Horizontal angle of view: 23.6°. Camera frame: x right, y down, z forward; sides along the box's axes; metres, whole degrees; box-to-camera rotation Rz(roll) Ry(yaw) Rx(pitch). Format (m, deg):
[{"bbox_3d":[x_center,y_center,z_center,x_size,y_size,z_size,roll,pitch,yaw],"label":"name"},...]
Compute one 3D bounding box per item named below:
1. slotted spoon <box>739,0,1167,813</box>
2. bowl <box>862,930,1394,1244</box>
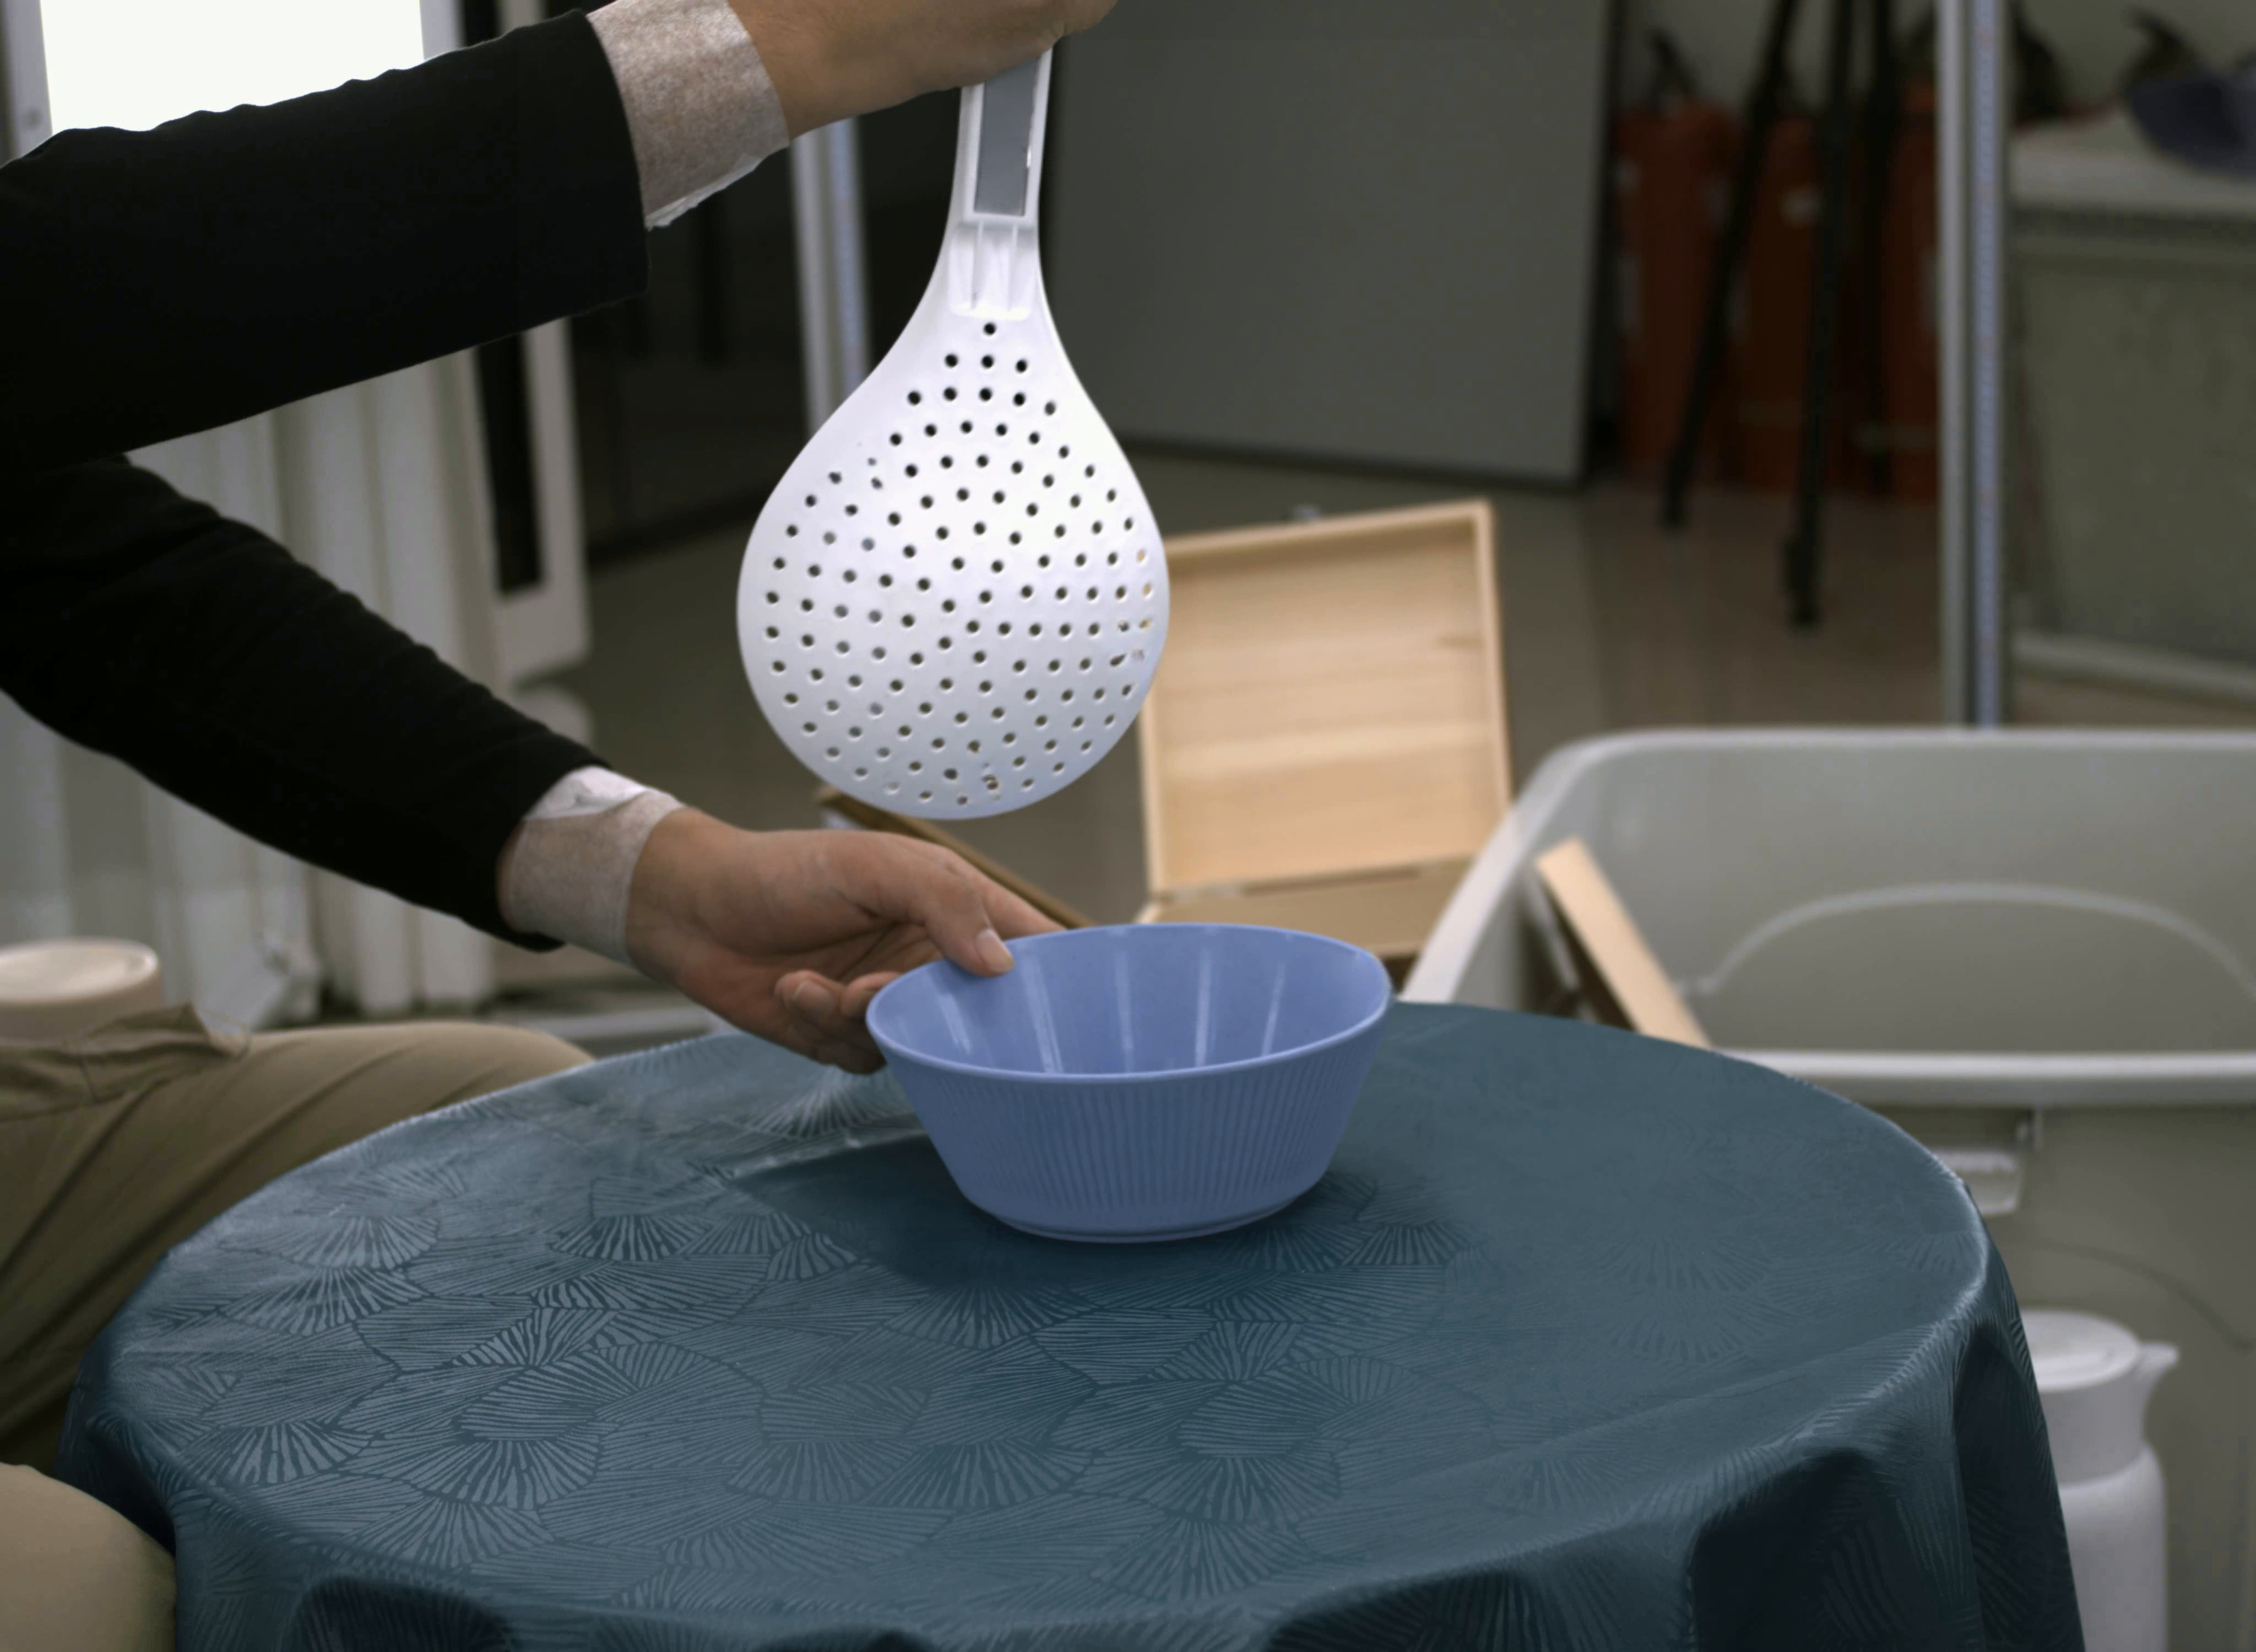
[{"bbox_3d":[-0.043,-0.177,1.651,0.133,0.354,0.046,3,6,-8],"label":"slotted spoon"},{"bbox_3d":[0.003,0.087,1.761,0.174,0.071,0.176,-5,14,0],"label":"bowl"}]
